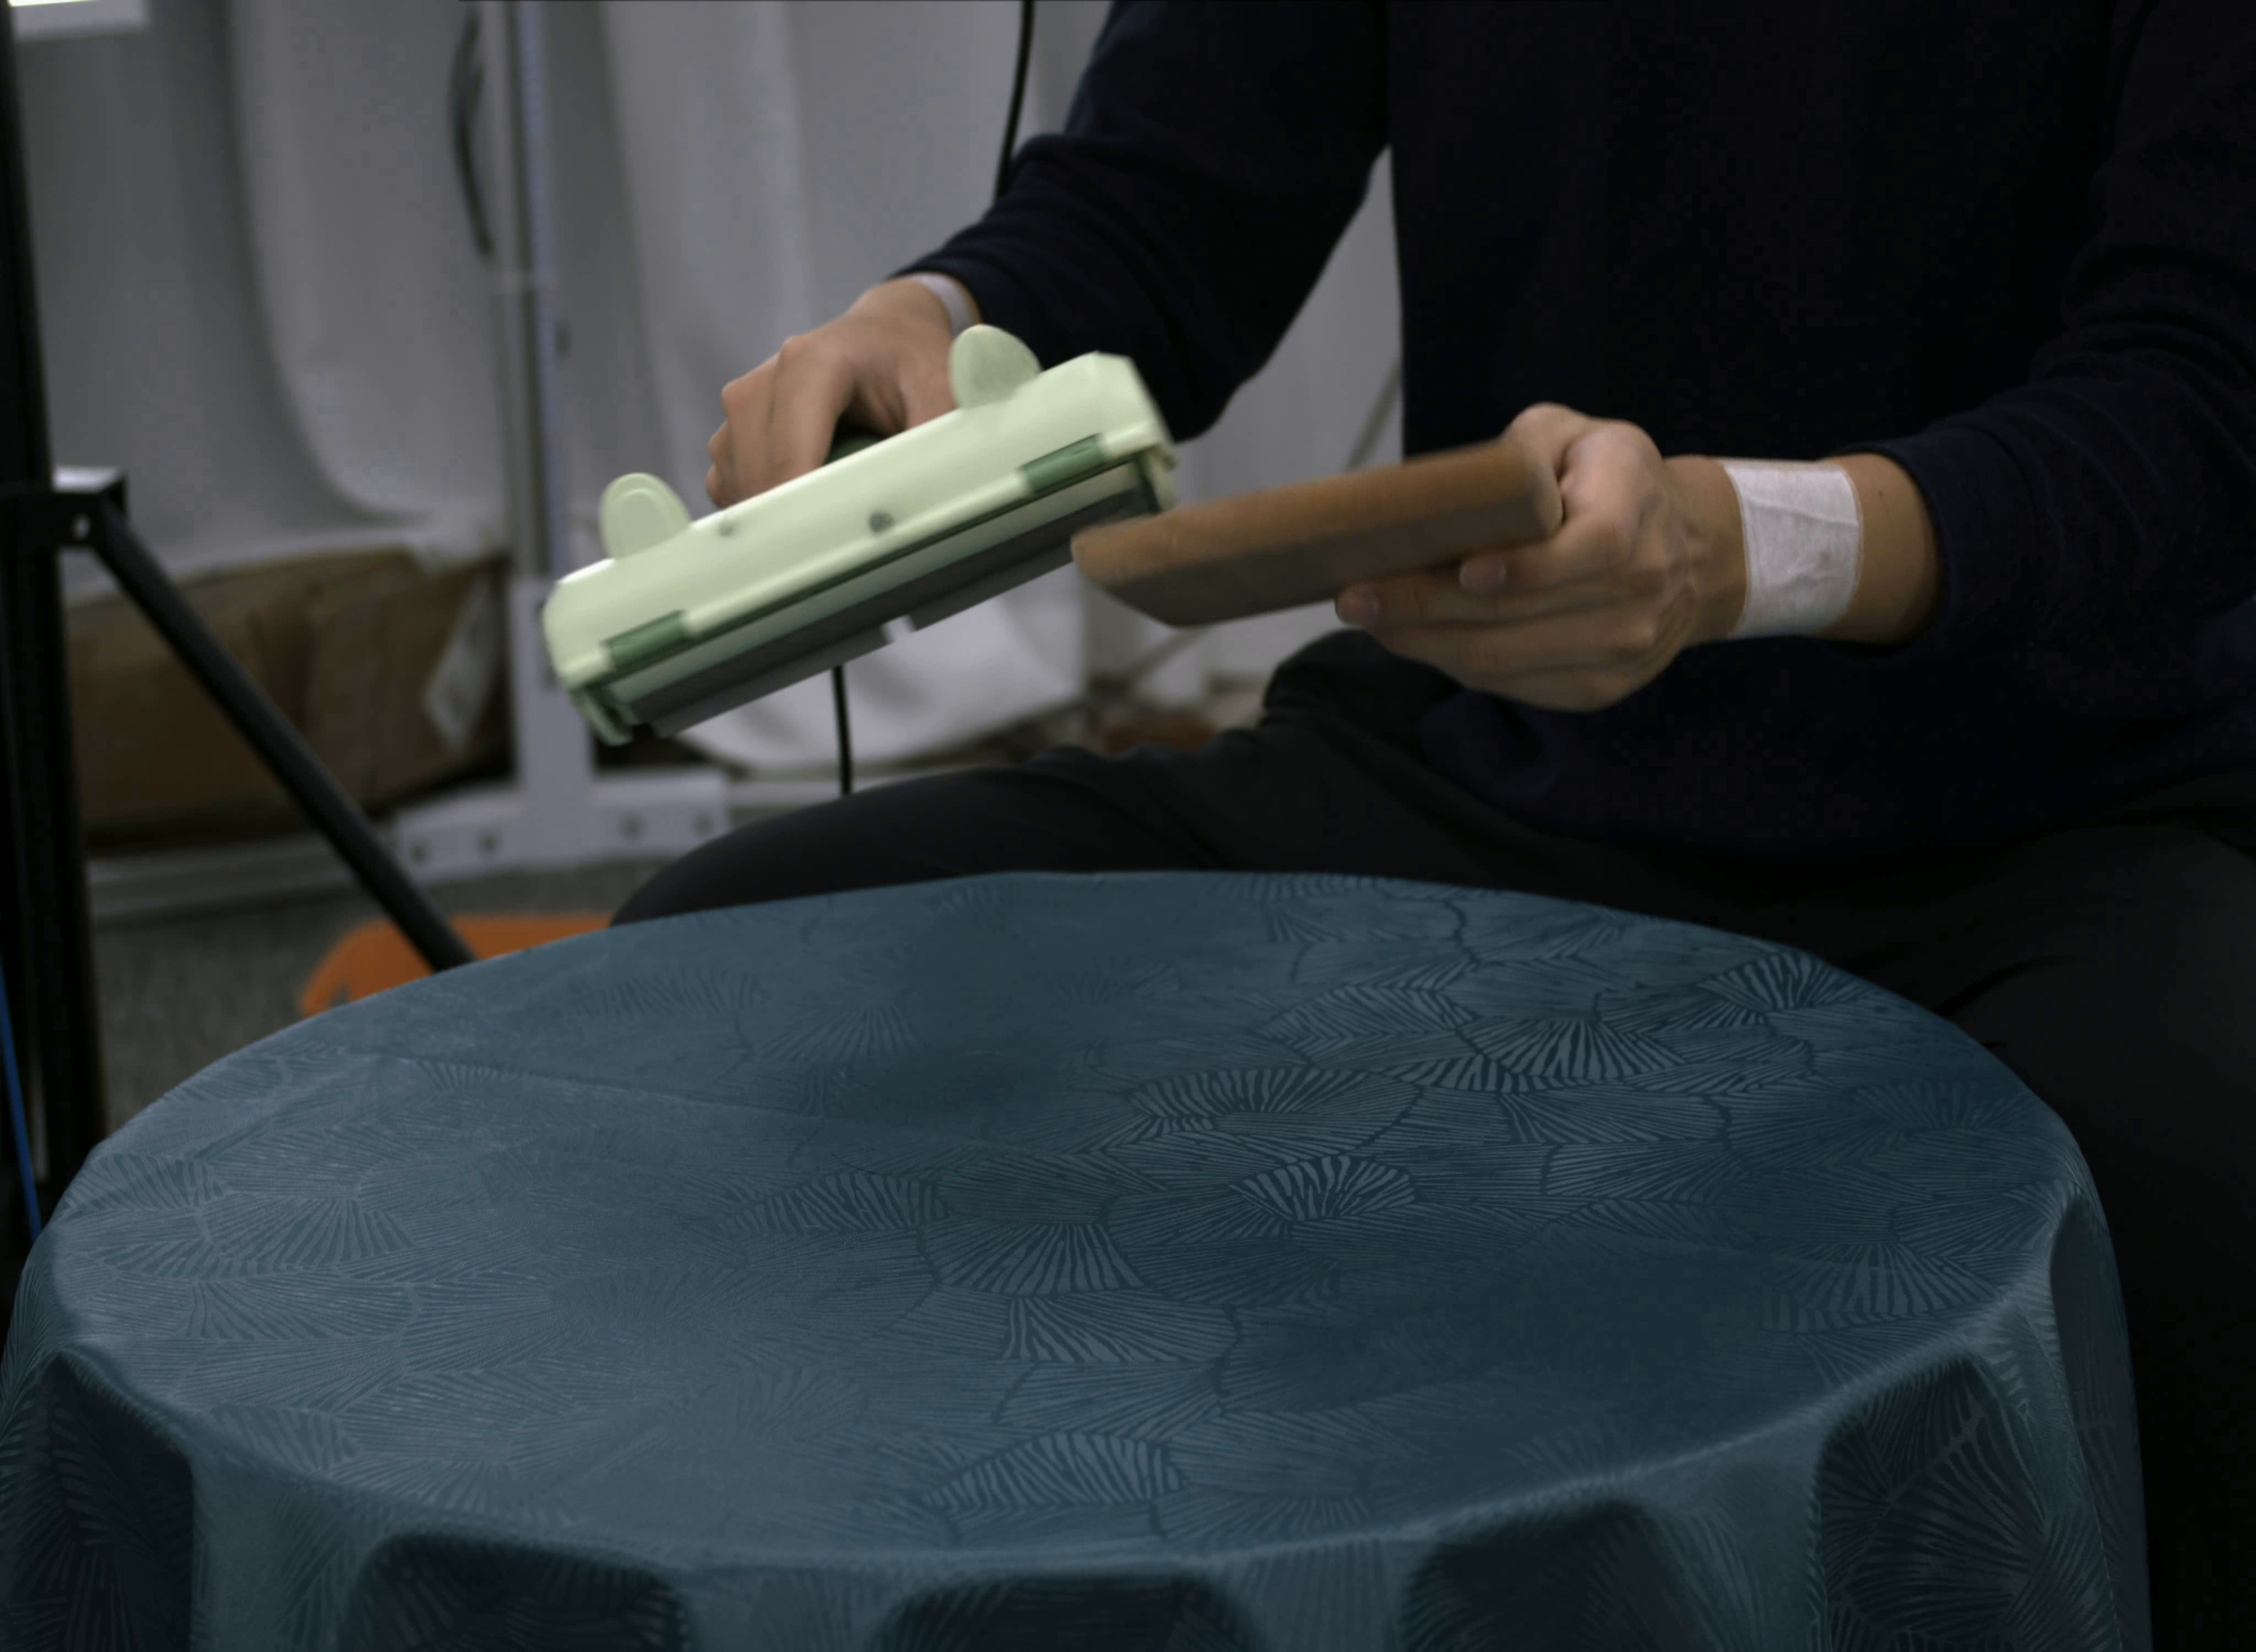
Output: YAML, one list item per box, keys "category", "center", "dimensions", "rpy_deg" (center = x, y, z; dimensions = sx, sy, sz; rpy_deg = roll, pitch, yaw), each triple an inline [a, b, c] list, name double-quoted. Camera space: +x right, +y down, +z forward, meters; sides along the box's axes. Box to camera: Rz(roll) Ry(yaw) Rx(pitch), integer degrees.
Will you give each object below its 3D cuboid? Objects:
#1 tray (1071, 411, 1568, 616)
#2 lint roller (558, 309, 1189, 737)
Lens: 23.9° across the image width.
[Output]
- category: "tray"
  center: [0.057, -0.083, 1.465]
  dimensions: [0.130, 0.023, 0.249]
  rpy_deg: [-9, -3, 6]
- category: "lint roller"
  center: [-0.089, -0.117, 1.672]
  dimensions: [0.198, 0.081, 0.186]
  rpy_deg: [-24, 27, 2]
